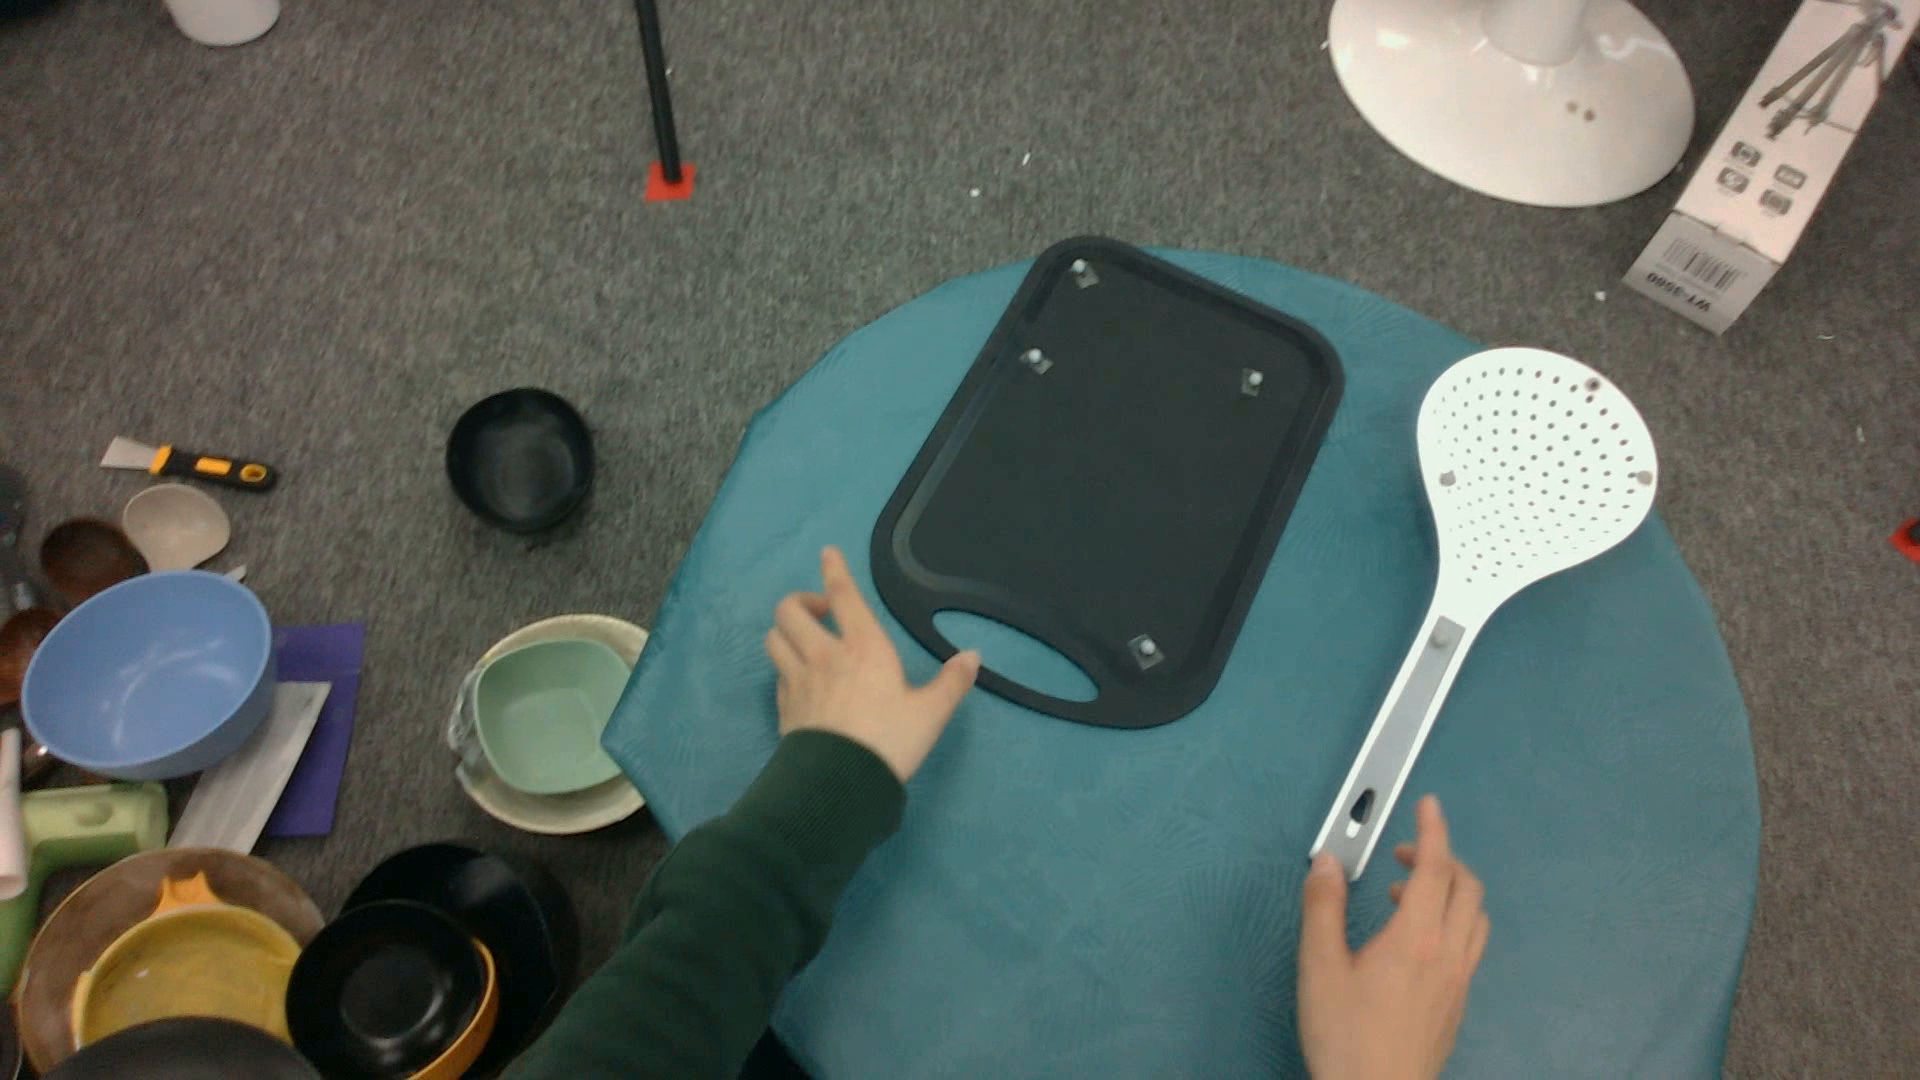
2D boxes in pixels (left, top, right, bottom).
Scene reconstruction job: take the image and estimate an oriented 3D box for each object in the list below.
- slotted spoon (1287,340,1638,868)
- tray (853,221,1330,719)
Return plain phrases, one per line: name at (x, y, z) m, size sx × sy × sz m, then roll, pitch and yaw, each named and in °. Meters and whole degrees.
slotted spoon at (0.270, 0.028, 0.768) m, size 0.136 × 0.045 × 0.351 m, roll 30°, pitch 63°, yaw 11°
tray at (0.082, -0.050, 0.807) m, size 0.211 × 0.010 × 0.327 m, roll 26°, pitch 62°, yaw 7°
